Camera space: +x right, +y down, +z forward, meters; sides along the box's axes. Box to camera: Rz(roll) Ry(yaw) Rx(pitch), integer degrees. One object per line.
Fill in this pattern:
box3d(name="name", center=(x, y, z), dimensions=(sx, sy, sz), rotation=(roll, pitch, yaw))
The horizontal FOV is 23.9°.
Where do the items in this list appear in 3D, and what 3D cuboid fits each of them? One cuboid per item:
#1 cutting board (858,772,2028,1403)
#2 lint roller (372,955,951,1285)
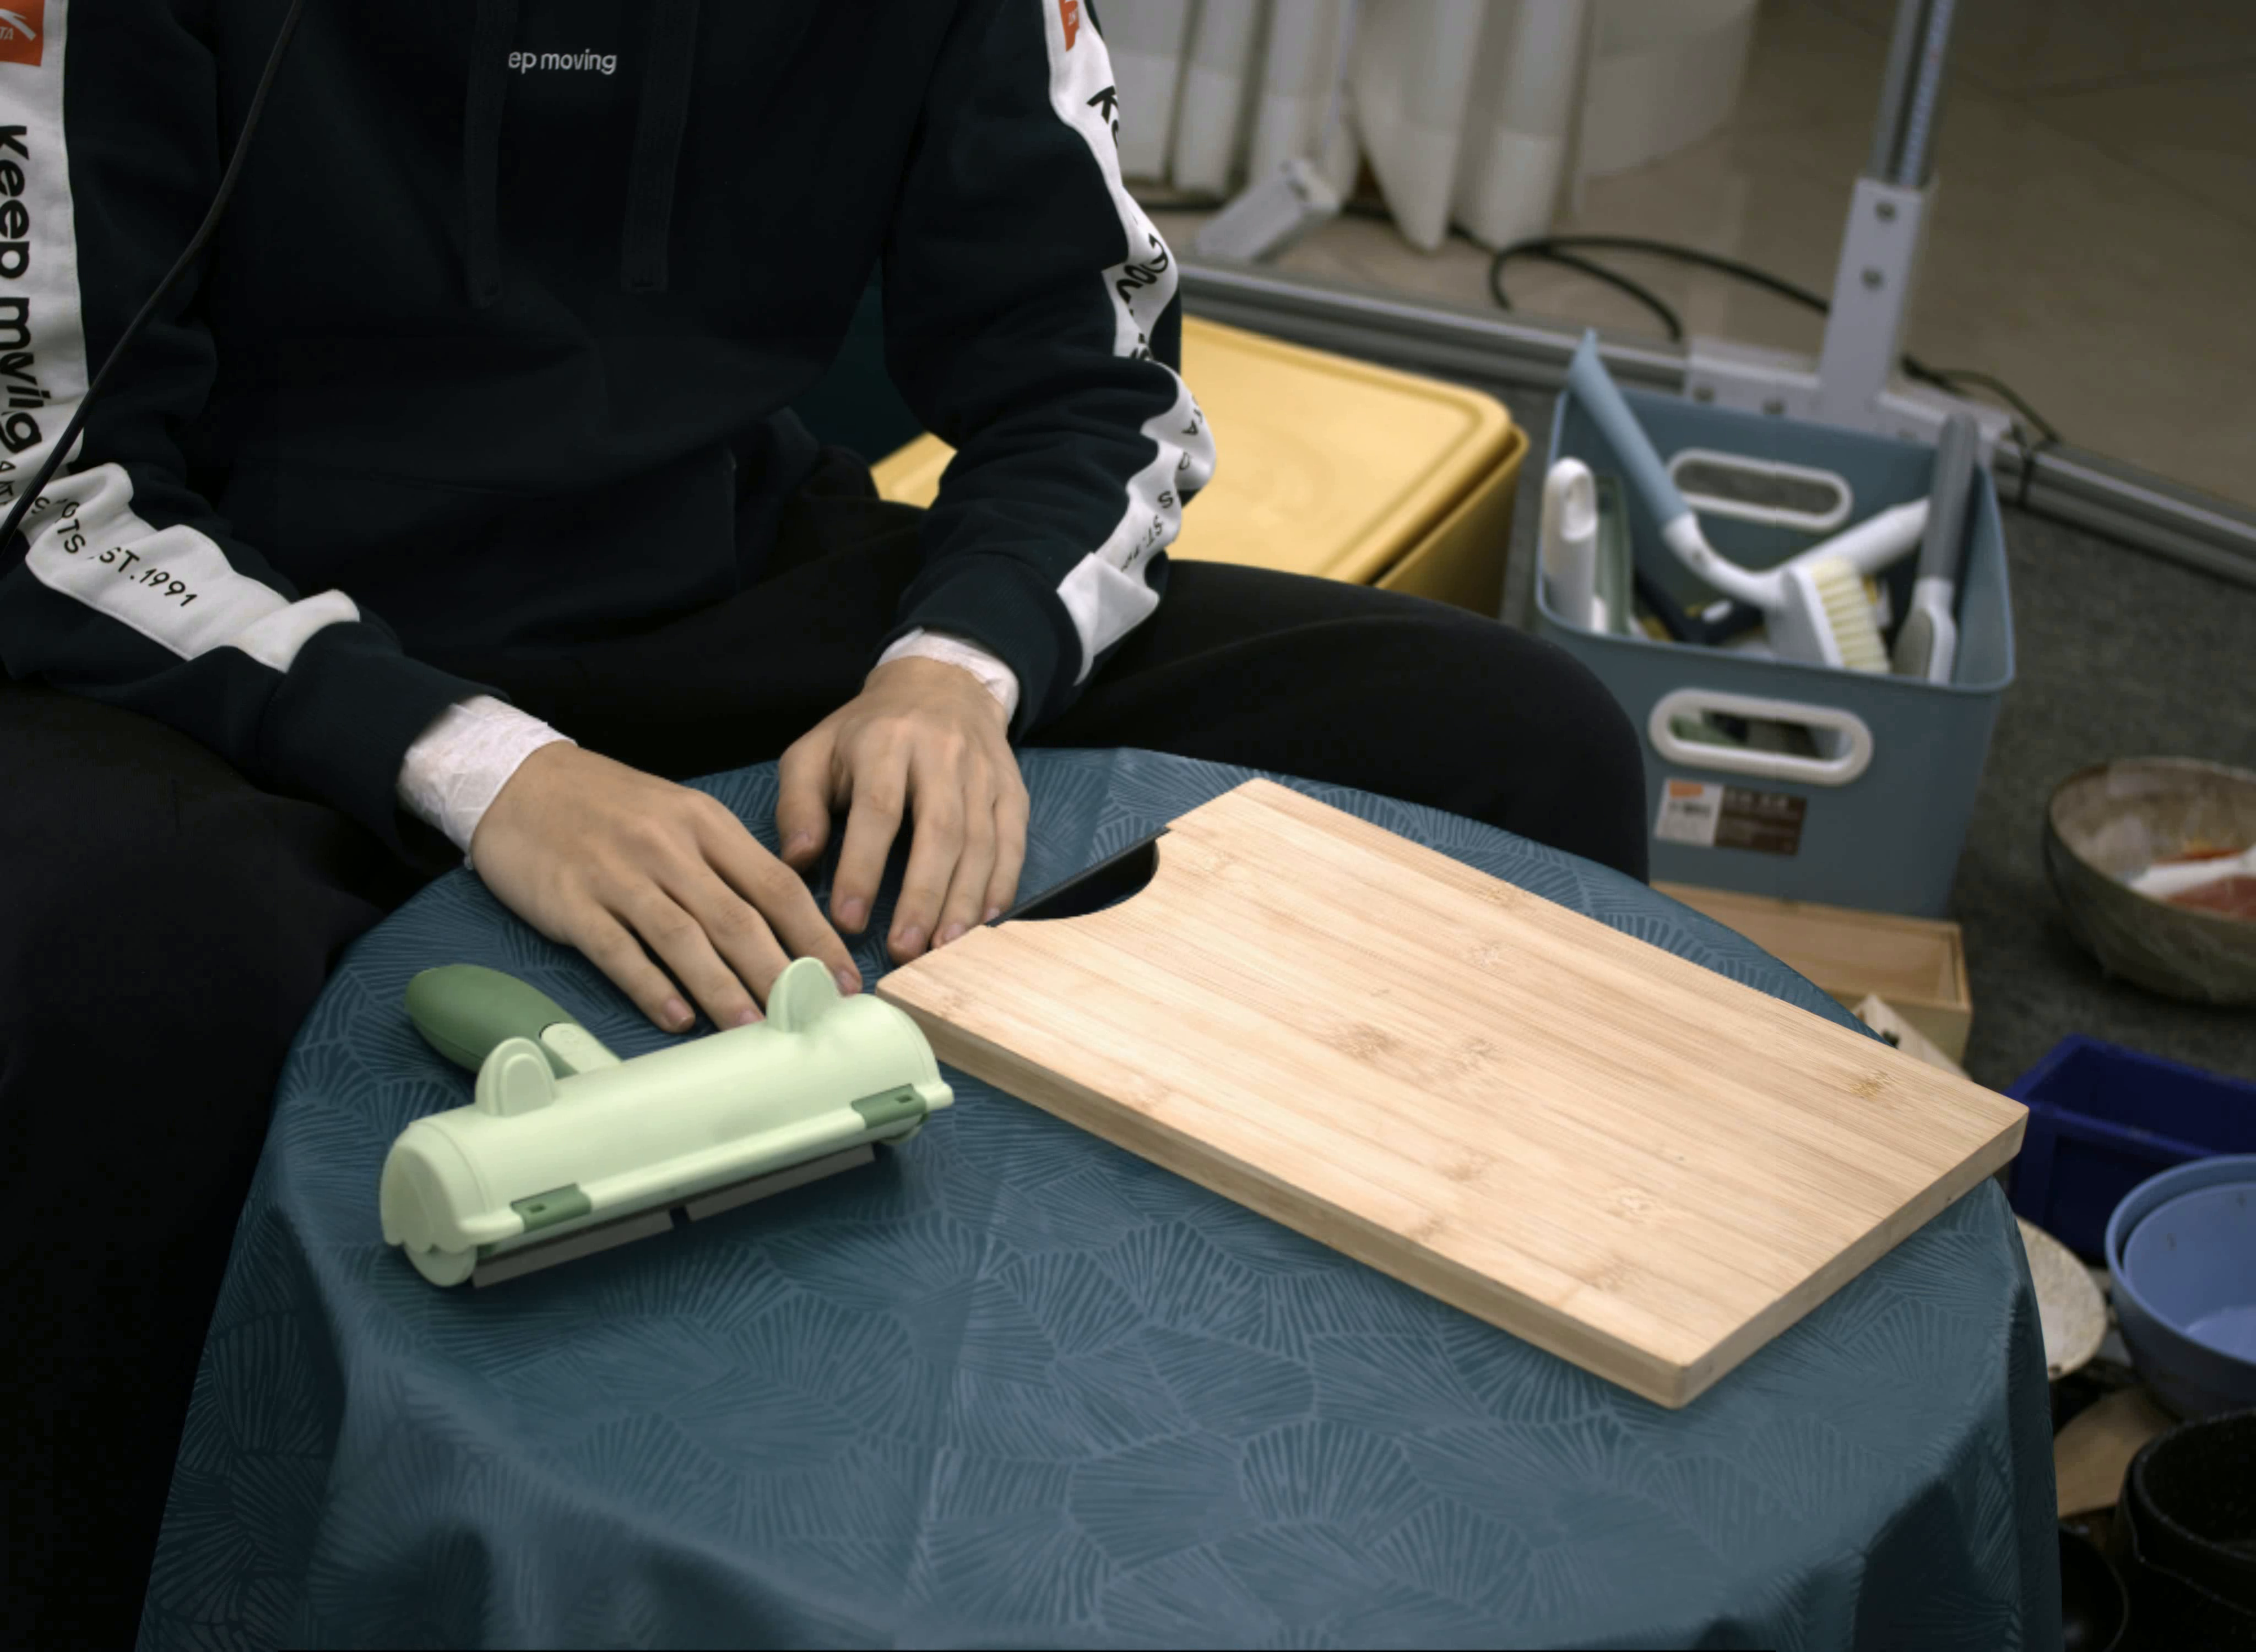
box3d(name="cutting board", center=(0.110, 0.085, 1.883), dimensions=(0.351, 0.023, 0.250), rotation=(23, 31, 29))
box3d(name="lint roller", center=(-0.186, 0.070, 1.779), dimensions=(0.197, 0.082, 0.185), rotation=(-15, 38, -36))
